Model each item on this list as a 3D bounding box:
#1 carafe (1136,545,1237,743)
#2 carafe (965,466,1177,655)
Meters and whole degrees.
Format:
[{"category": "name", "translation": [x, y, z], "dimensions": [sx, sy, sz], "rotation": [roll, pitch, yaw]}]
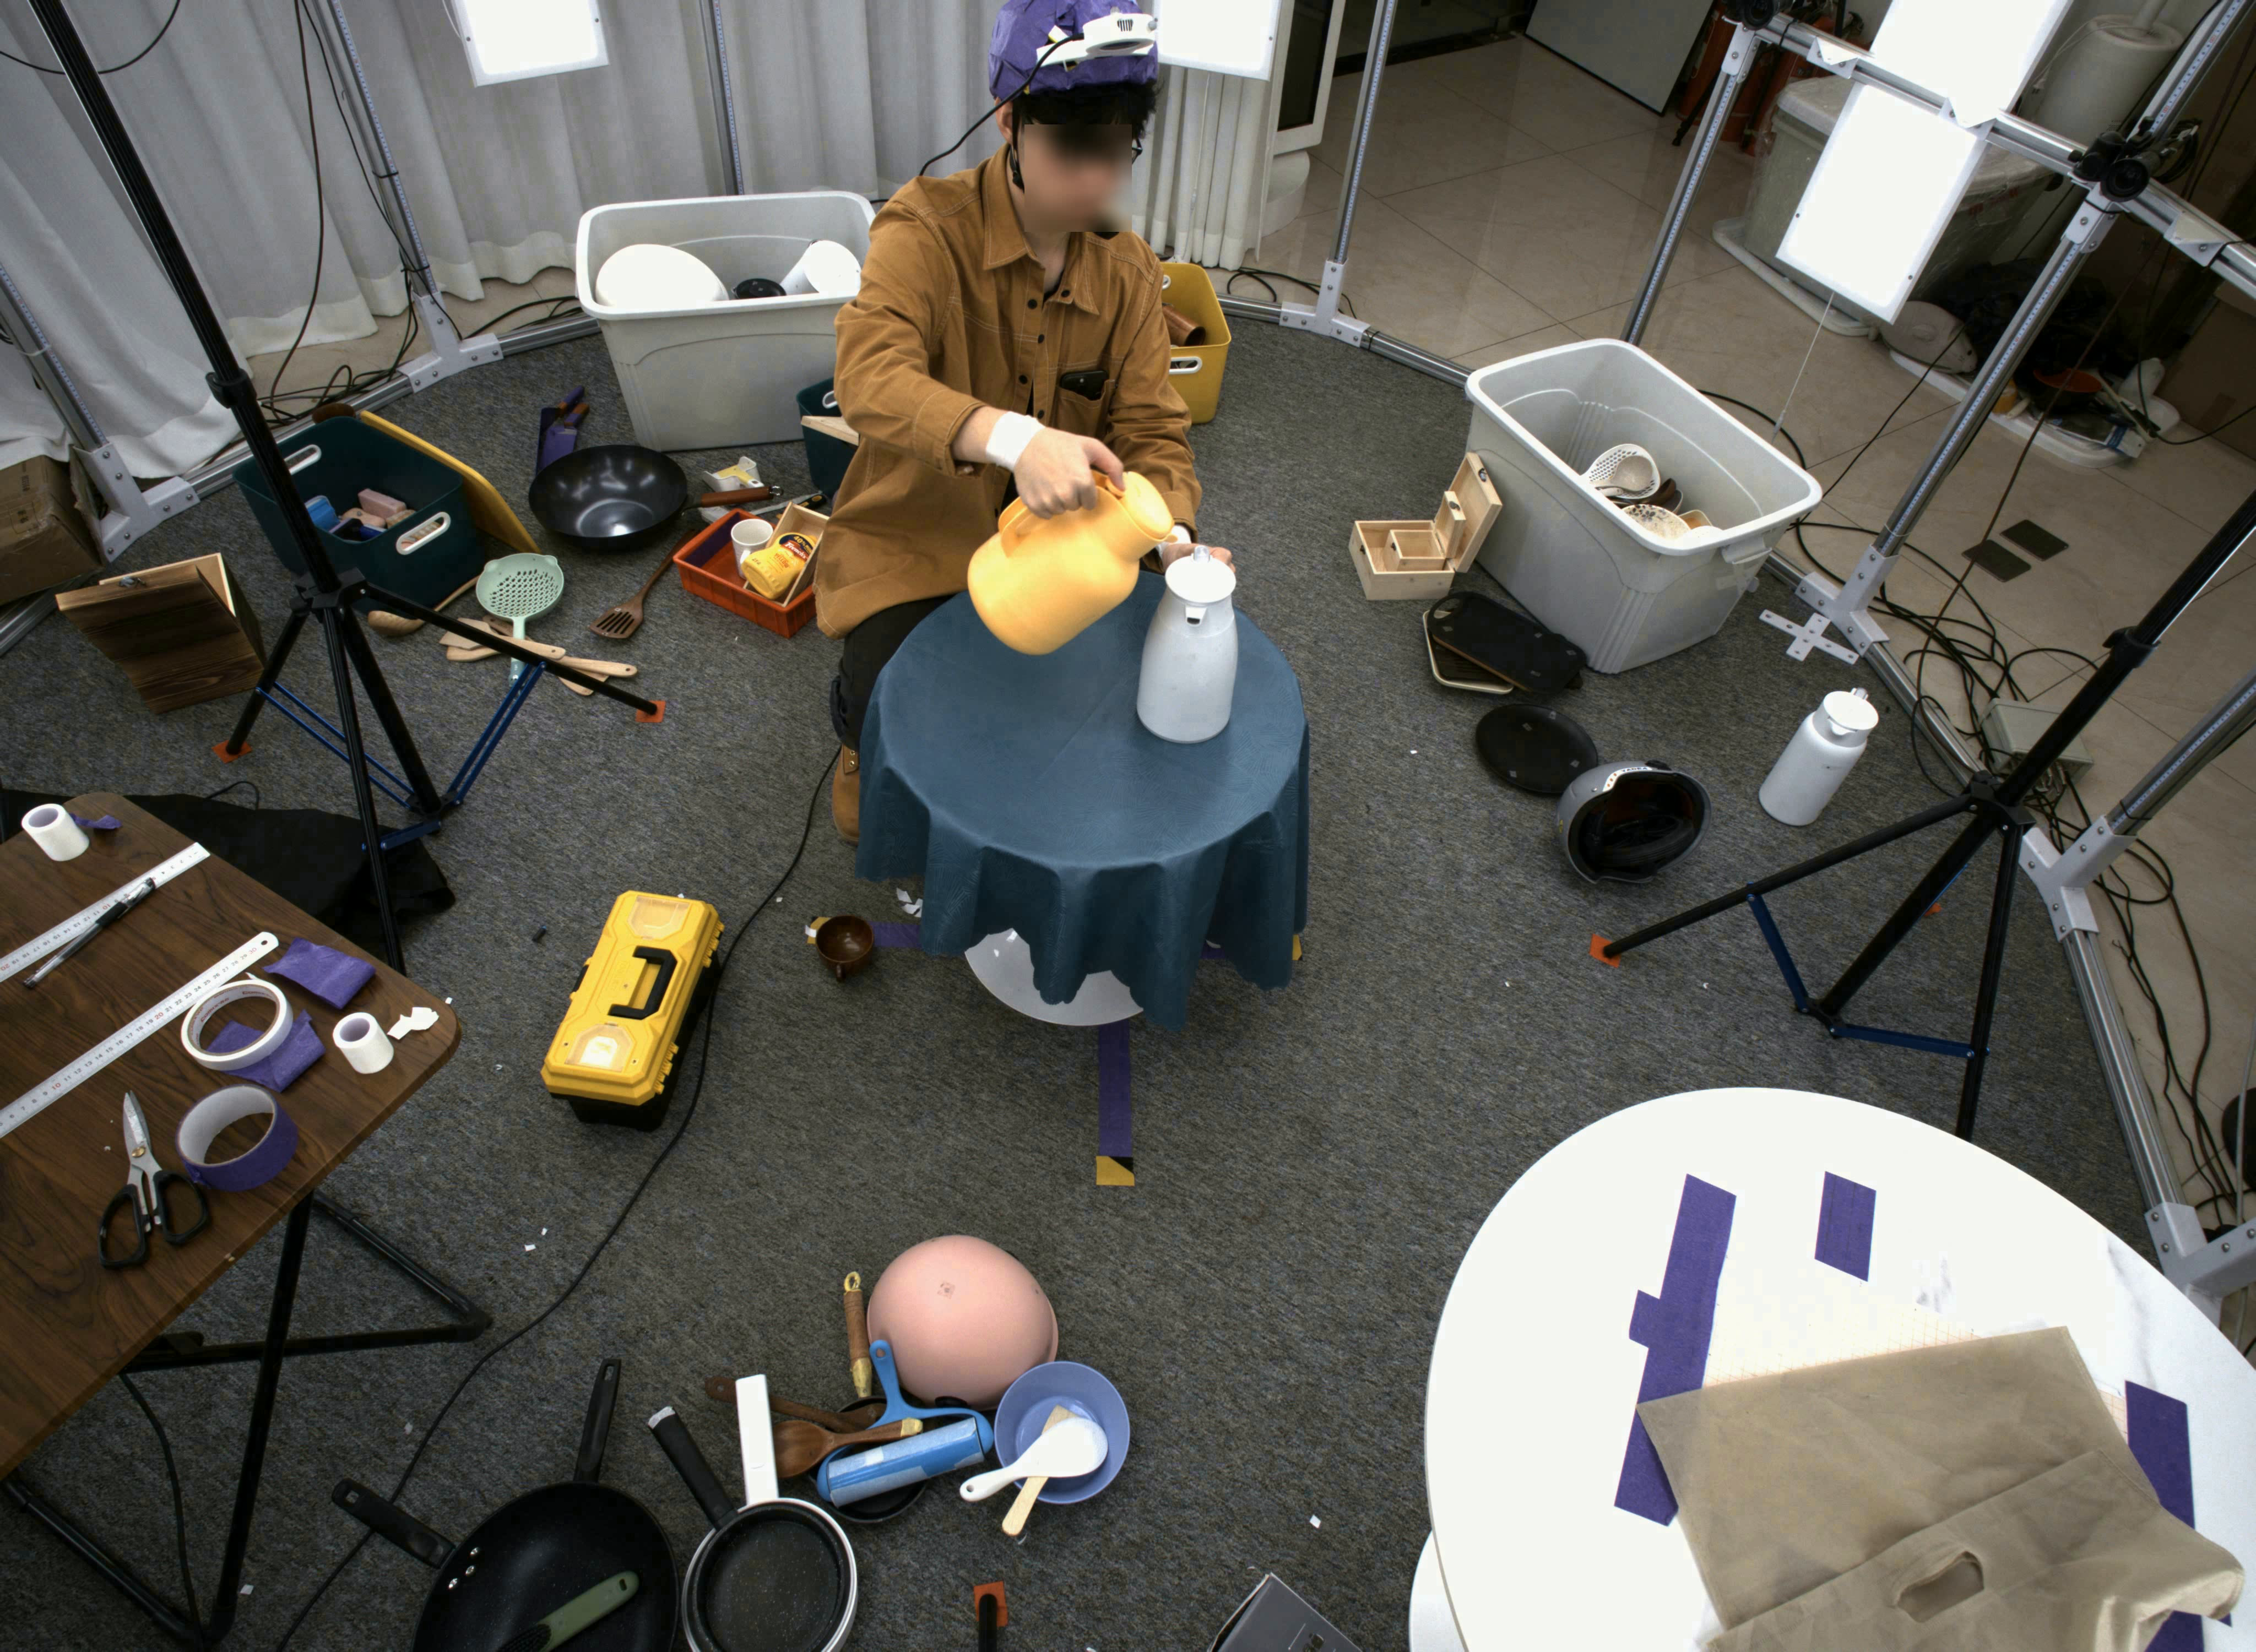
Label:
[{"category": "carafe", "translation": [0.086, -0.258, 1.738], "dimensions": [0.132, 0.242, 0.172], "rotation": [8, 49, 3]}, {"category": "carafe", "translation": [-0.082, -0.340, 1.582], "dimensions": [0.199, 0.258, 0.167], "rotation": [23, 46, -43]}]
